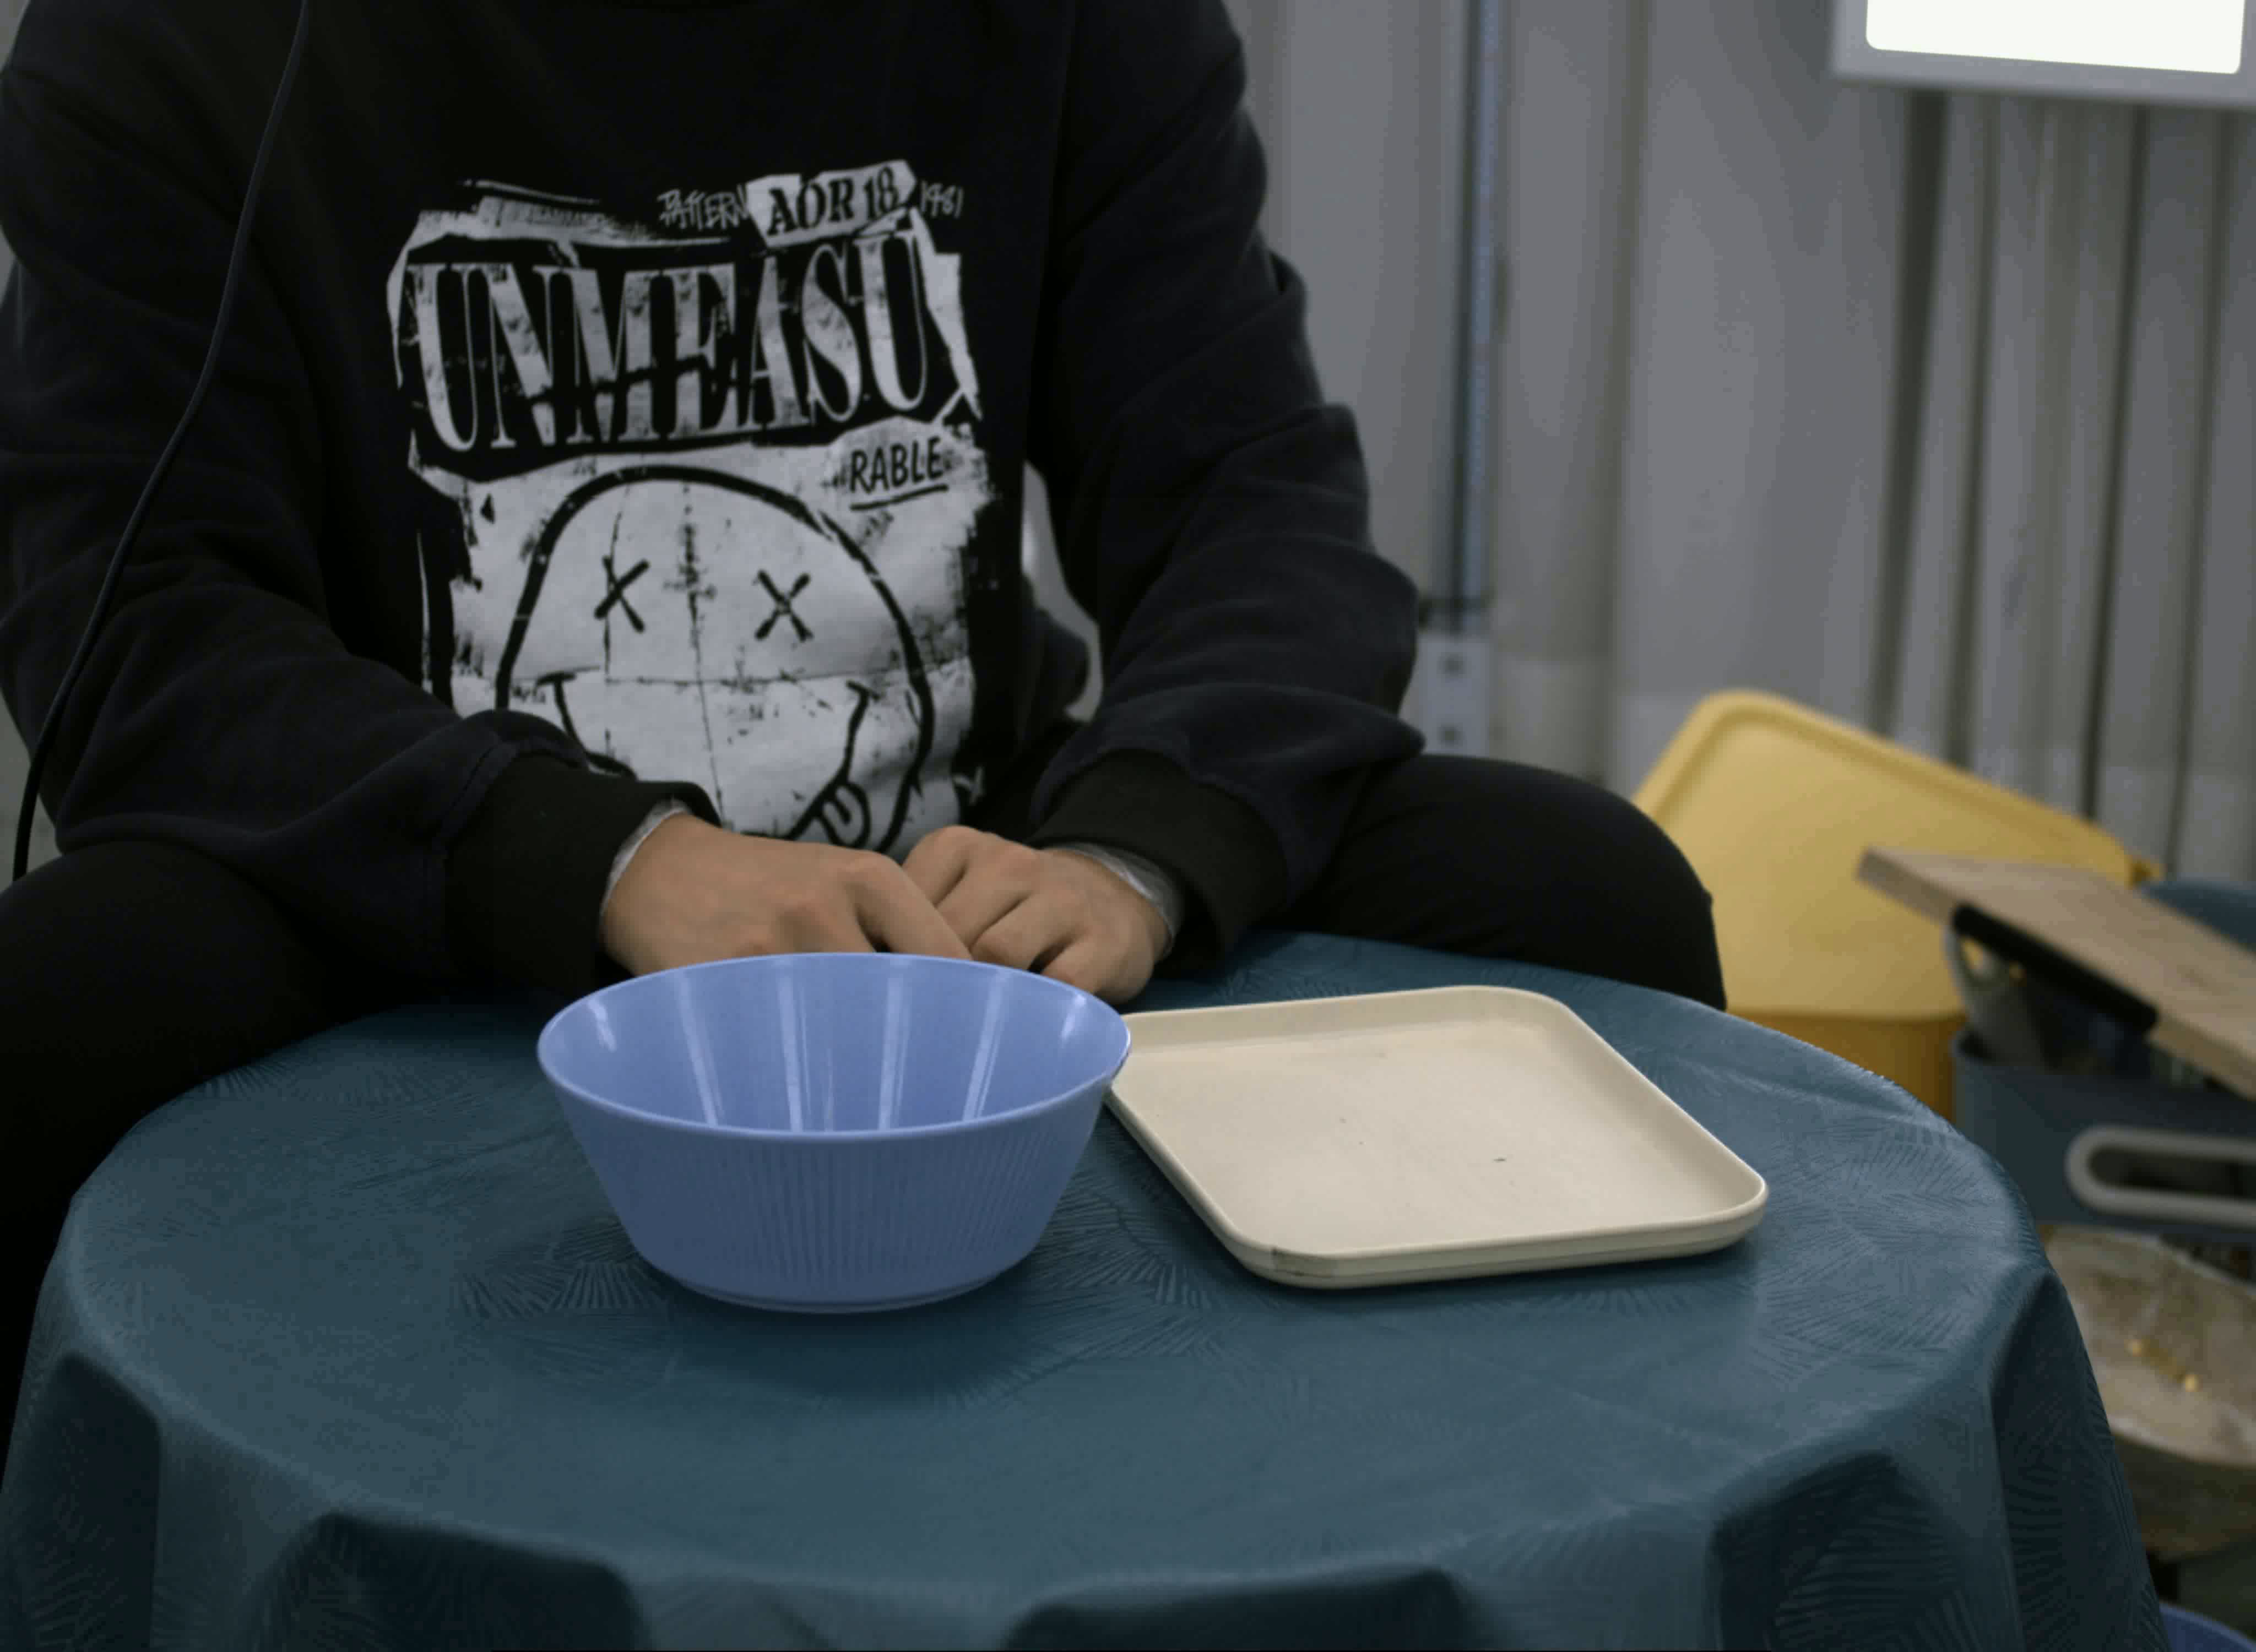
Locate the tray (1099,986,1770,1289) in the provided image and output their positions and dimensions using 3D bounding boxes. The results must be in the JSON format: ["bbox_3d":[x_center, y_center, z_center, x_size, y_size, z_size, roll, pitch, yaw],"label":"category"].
[{"bbox_3d":[0.088,0.096,1.655,0.171,0.017,0.237,-3,16,-15],"label":"tray"}]

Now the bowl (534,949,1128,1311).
[{"bbox_3d":[-0.088,0.093,1.563,0.175,0.071,0.175,1,17,0],"label":"bowl"}]
